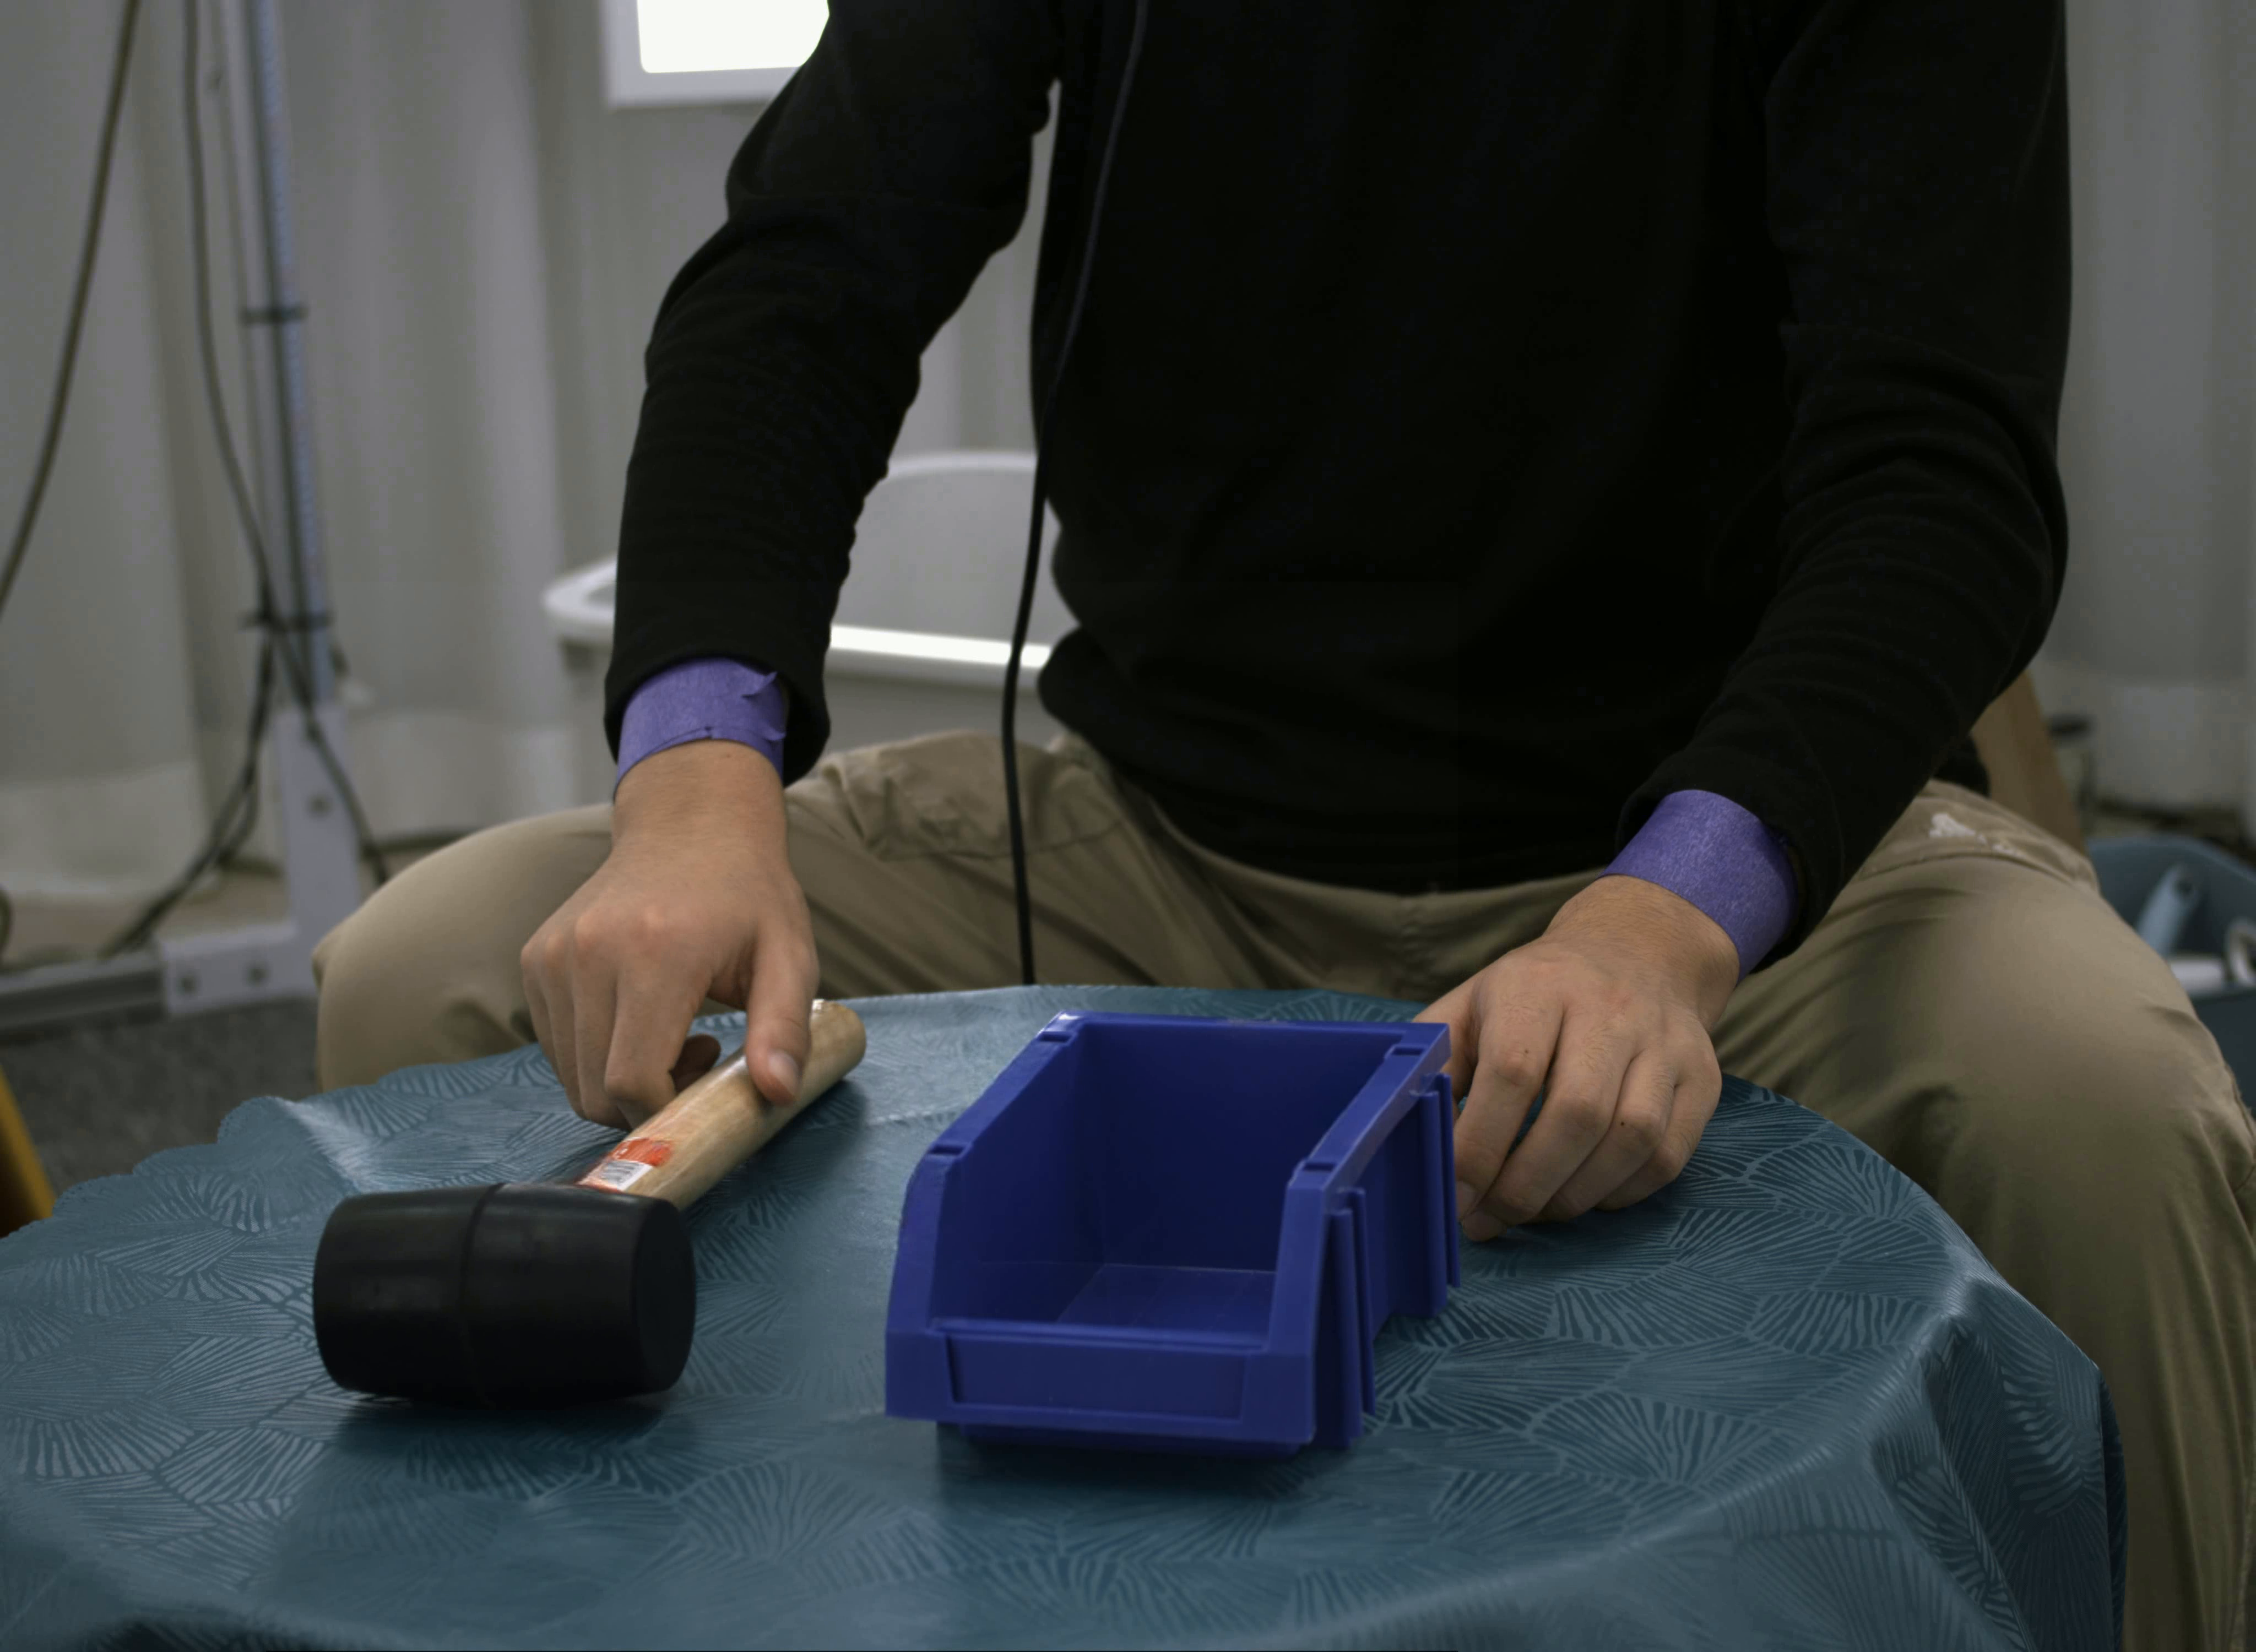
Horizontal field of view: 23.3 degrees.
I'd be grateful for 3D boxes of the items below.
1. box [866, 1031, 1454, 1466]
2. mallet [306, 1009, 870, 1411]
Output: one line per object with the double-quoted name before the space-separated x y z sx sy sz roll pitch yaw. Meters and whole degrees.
"box" 0.014 0.120 1.534 0.124 0.081 0.180 2 12 18
"mallet" -0.145 0.100 1.684 0.102 0.064 0.340 1 15 15
